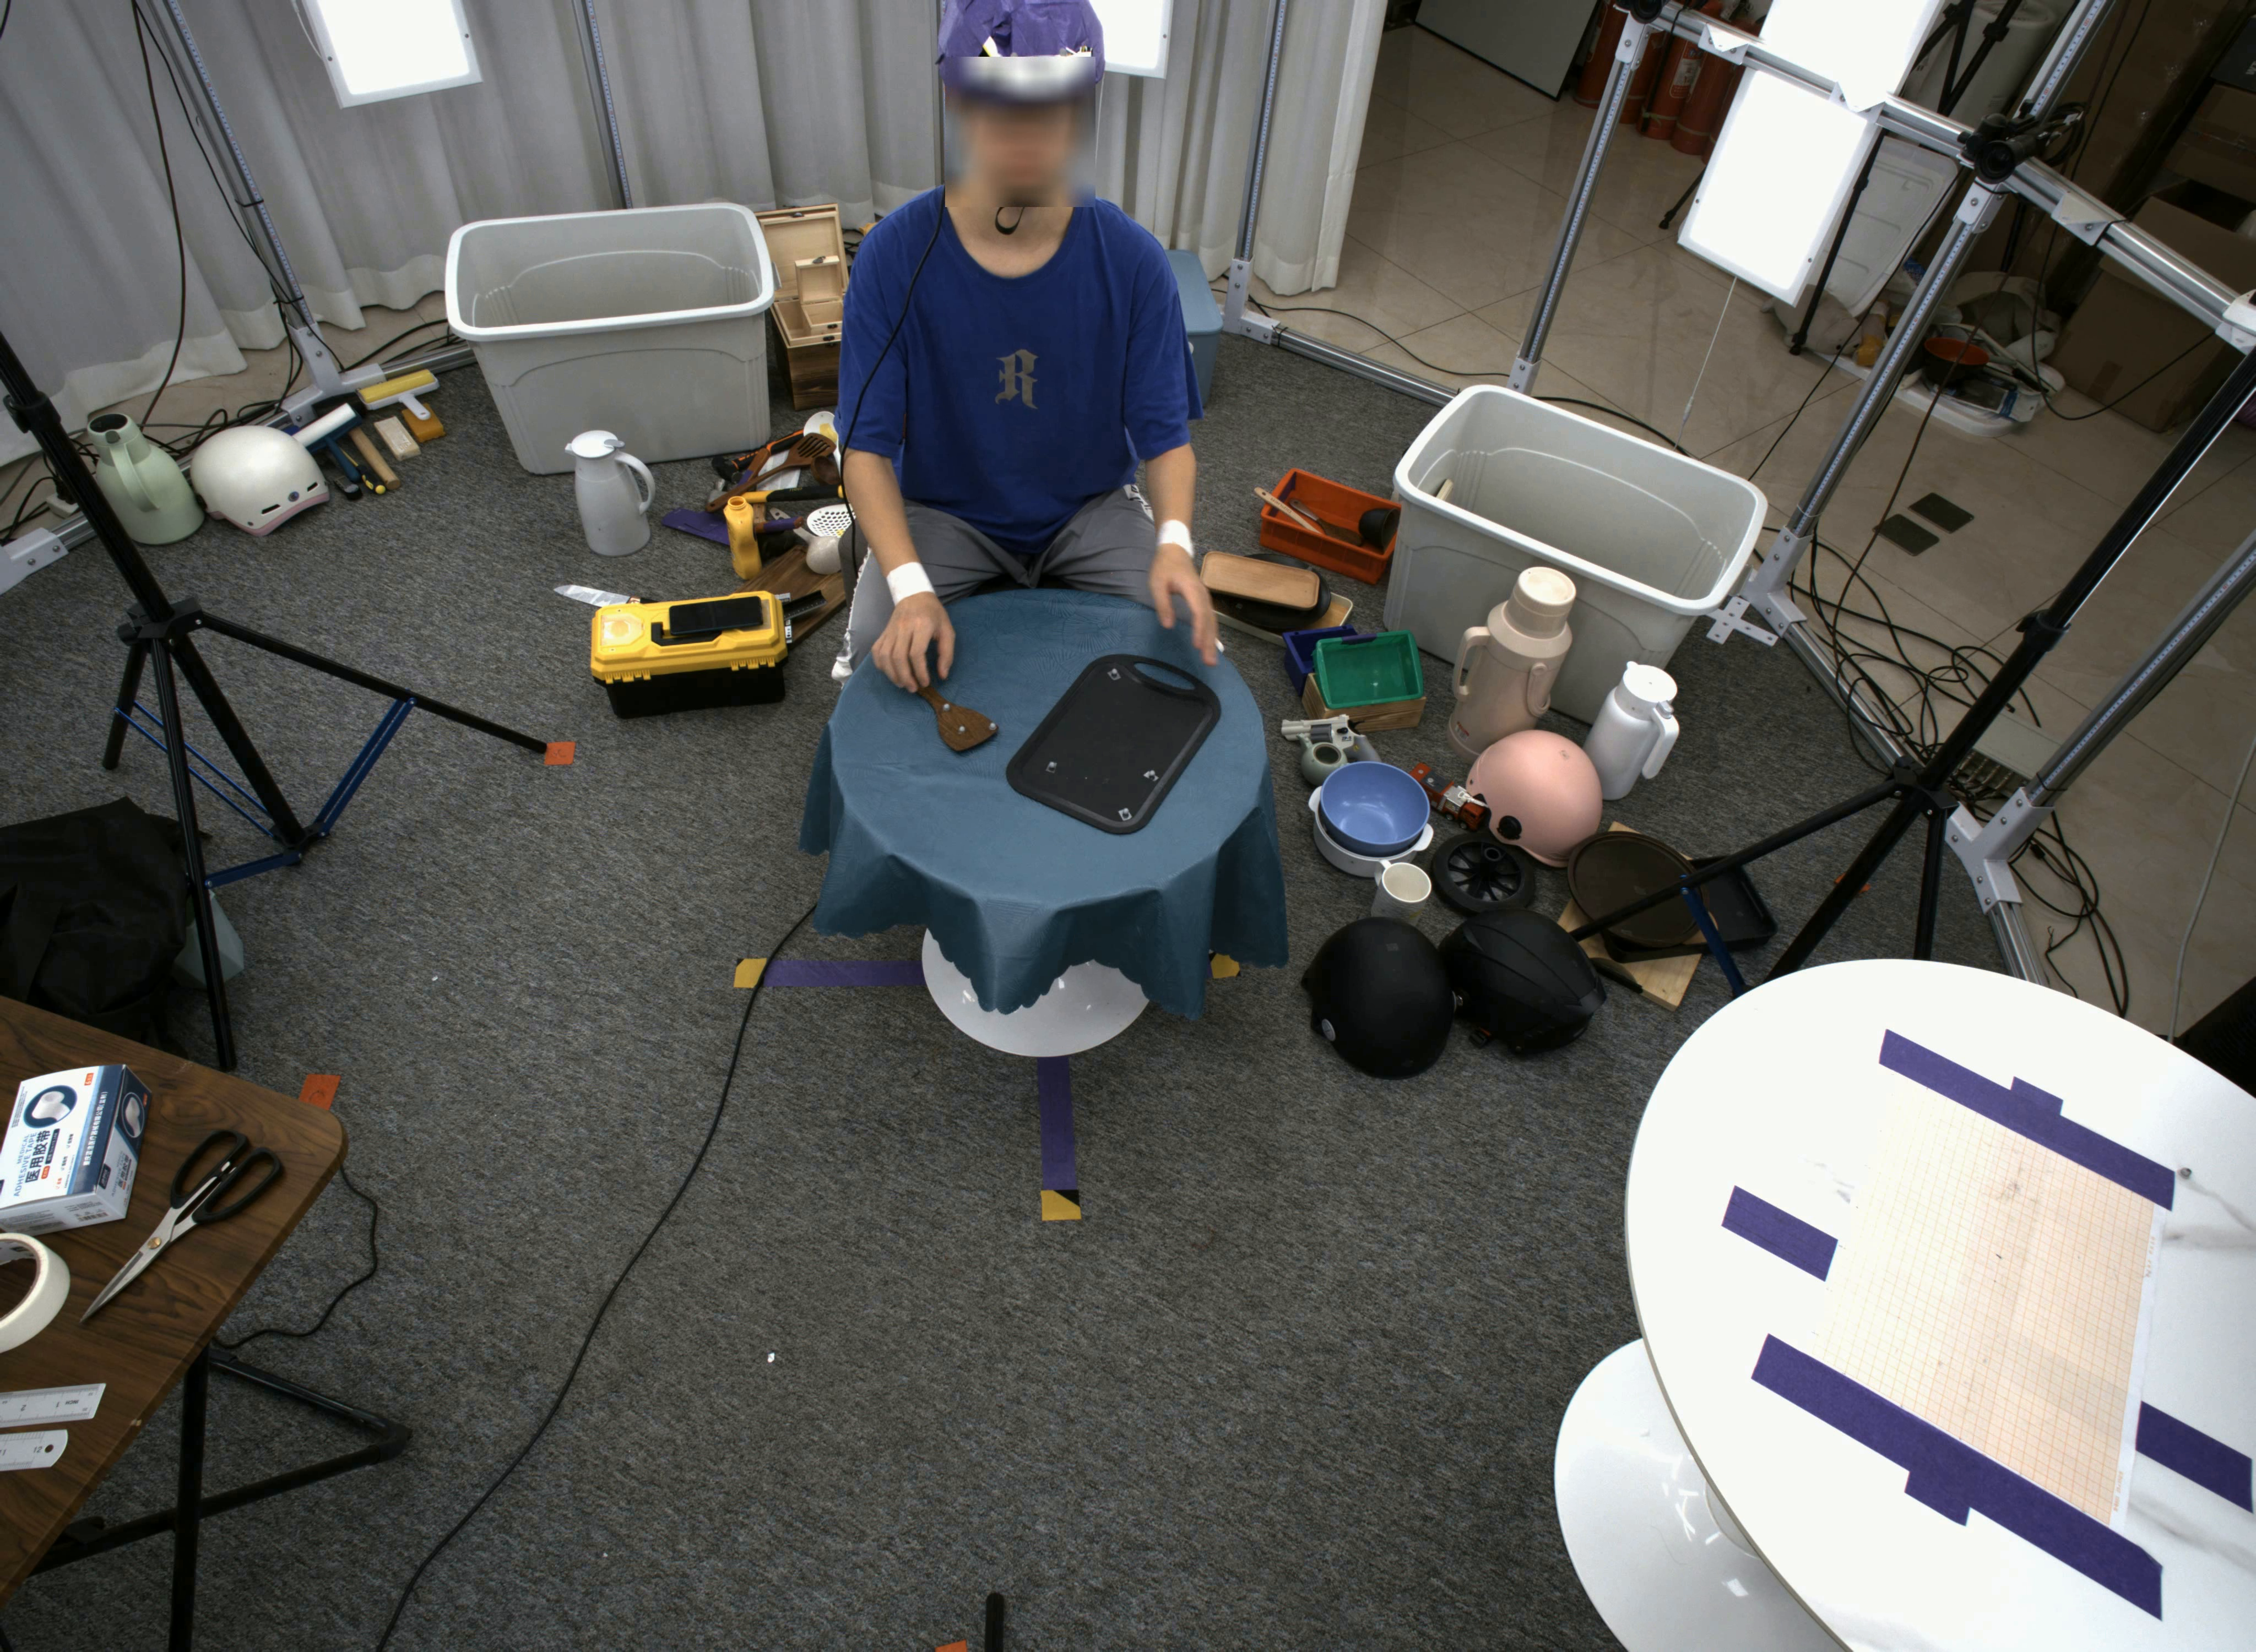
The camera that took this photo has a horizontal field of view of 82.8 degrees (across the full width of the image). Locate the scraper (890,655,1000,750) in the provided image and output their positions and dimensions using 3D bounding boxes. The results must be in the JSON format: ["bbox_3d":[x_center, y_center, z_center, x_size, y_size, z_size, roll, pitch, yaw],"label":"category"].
[{"bbox_3d":[-0.266,-0.178,1.803,0.076,0.010,0.215,-30,57,-27],"label":"scraper"}]

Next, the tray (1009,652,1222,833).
[{"bbox_3d":[-0.010,-0.130,1.780,0.212,0.009,0.331,24,52,16],"label":"tray"}]
